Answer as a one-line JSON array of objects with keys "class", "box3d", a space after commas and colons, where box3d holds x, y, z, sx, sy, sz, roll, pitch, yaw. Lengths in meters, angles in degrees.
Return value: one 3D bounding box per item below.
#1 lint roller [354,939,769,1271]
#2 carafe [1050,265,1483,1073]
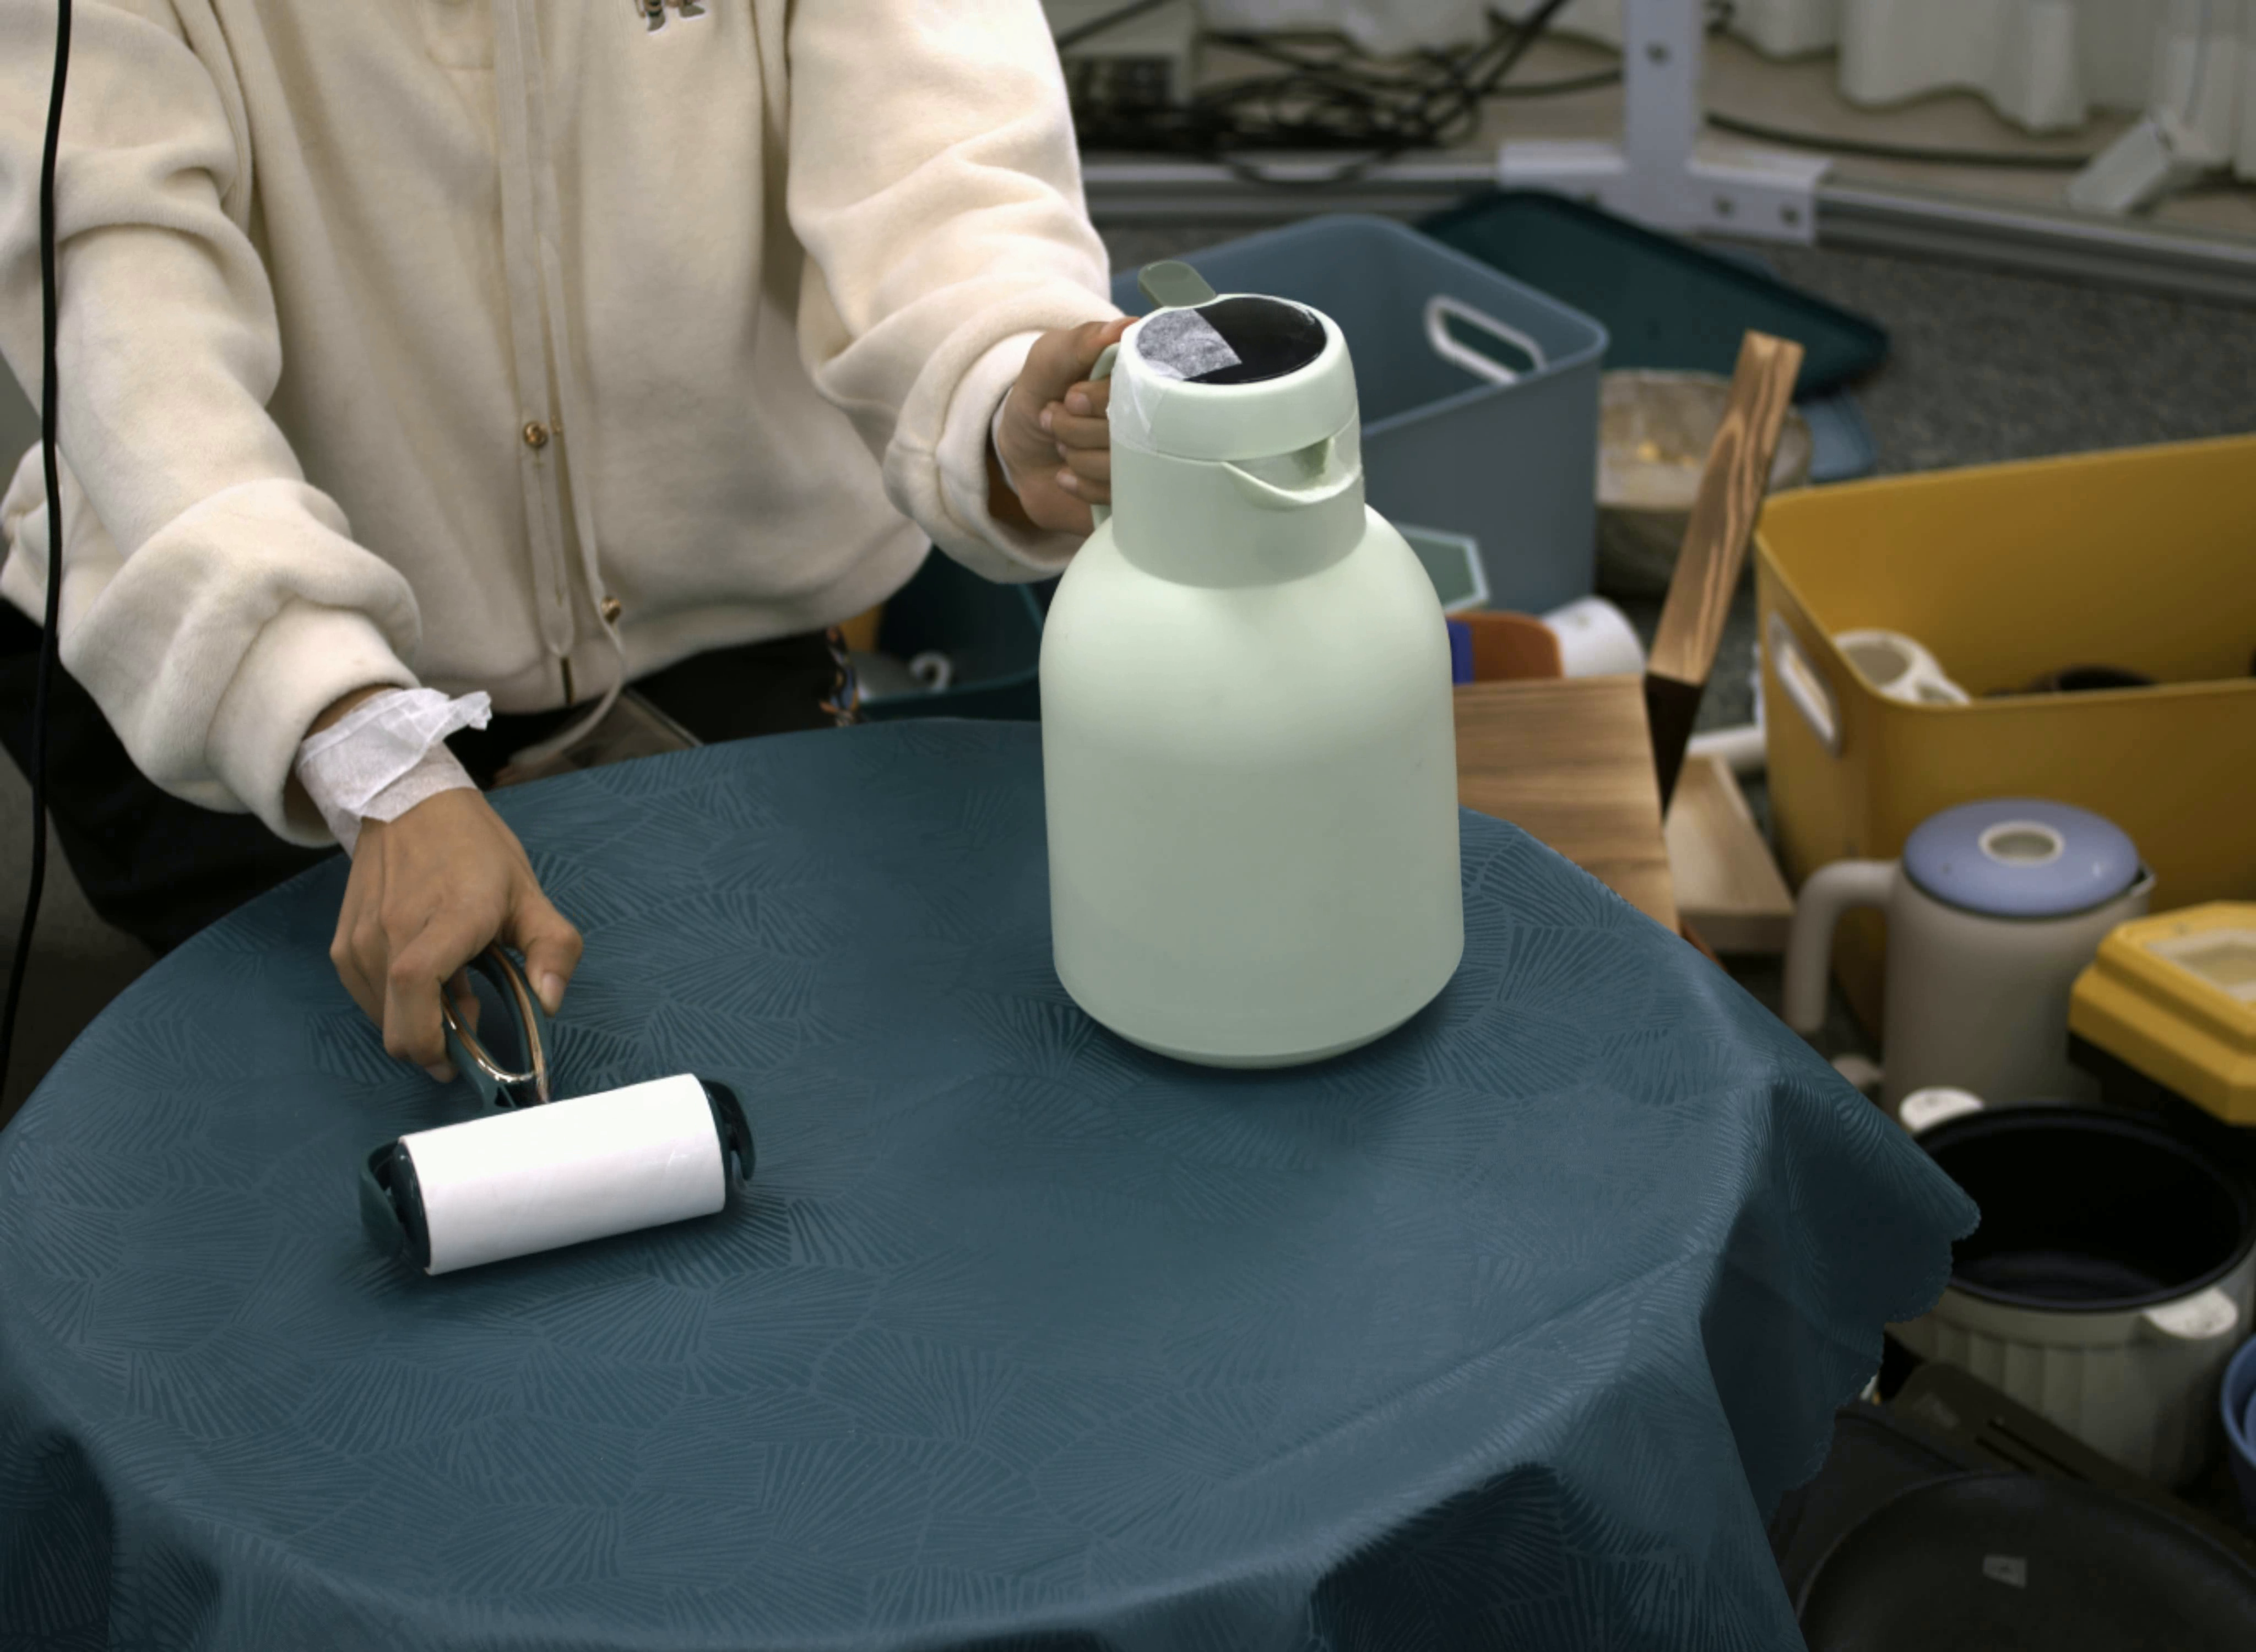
[{"class": "lint roller", "box3d": [-0.207, 0.076, 1.893, 0.134, 0.047, 0.182, -10, 38, -16]}, {"class": "carafe", "box3d": [0.038, -0.060, 1.932, 0.144, 0.254, 0.188, -15, 28, -16]}]
